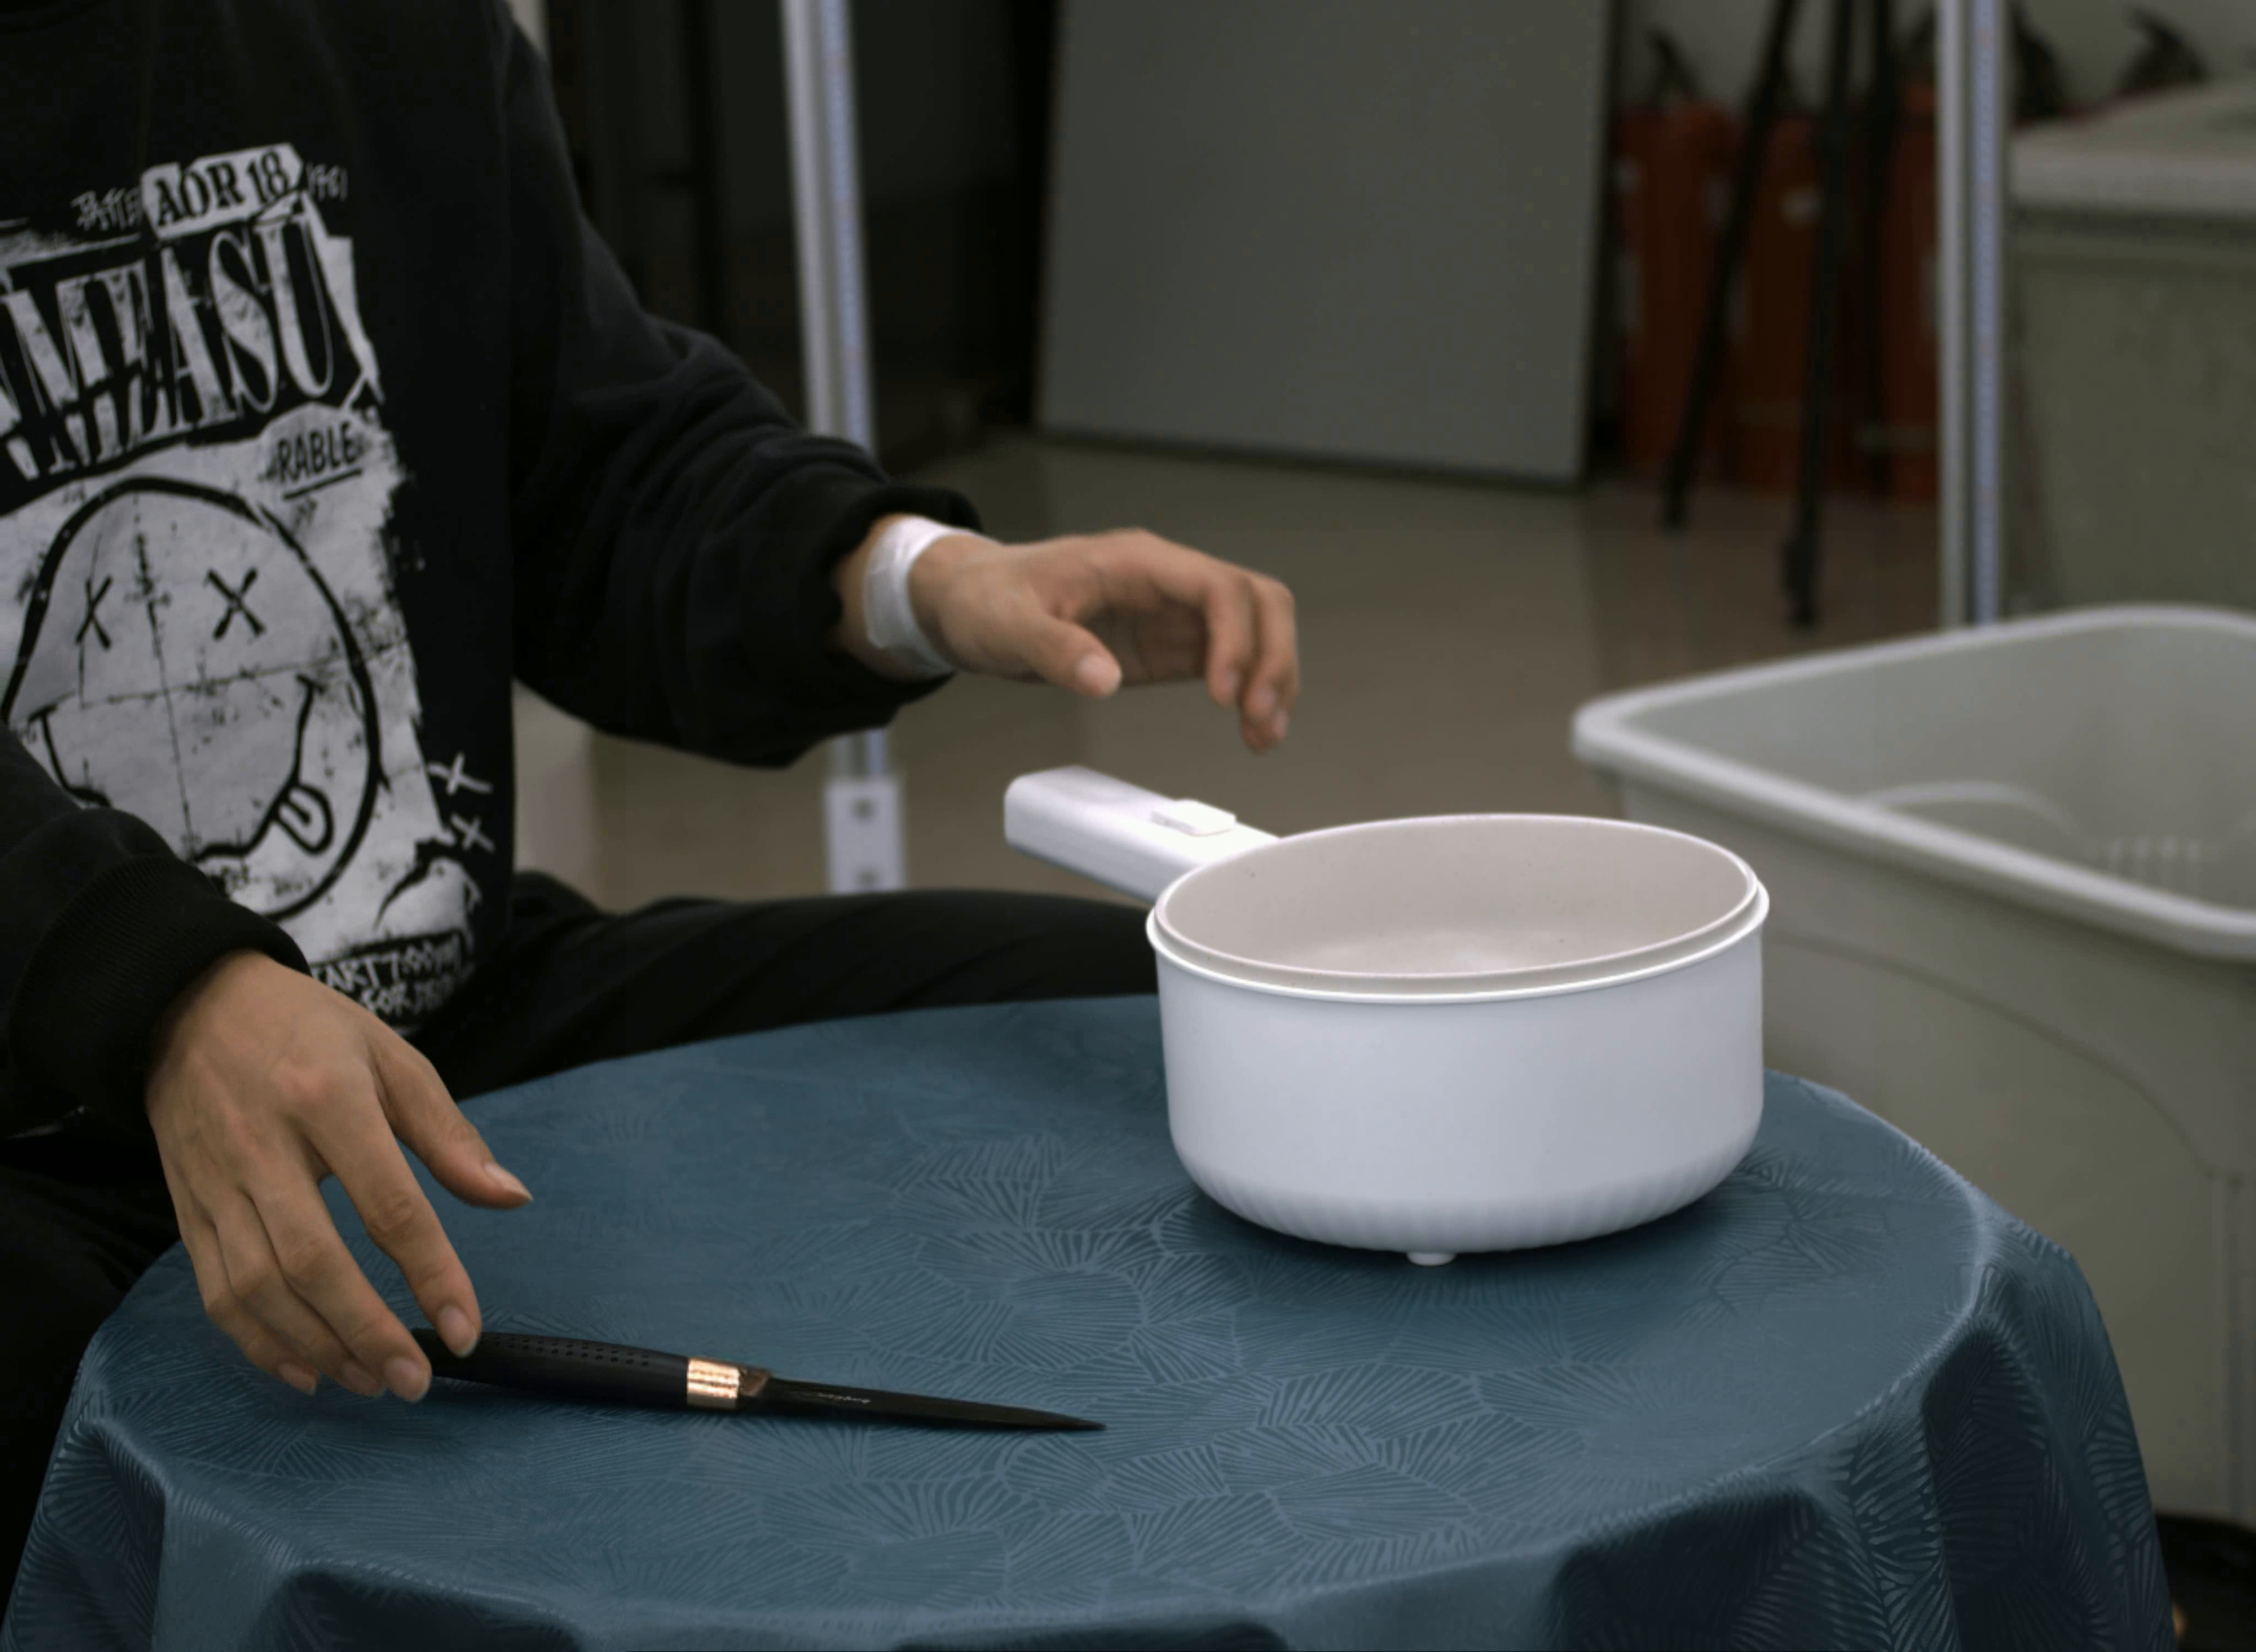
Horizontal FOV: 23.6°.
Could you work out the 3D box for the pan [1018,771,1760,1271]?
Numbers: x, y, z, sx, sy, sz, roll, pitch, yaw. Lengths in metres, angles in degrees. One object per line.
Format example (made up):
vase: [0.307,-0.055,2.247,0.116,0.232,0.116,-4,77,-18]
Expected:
pan: [0.068,0.057,1.808,0.197,0.103,0.358,-14,16,-29]

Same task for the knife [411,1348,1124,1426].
knife: [-0.108,0.168,1.599,0.225,0.017,0.026,2,0,20]
